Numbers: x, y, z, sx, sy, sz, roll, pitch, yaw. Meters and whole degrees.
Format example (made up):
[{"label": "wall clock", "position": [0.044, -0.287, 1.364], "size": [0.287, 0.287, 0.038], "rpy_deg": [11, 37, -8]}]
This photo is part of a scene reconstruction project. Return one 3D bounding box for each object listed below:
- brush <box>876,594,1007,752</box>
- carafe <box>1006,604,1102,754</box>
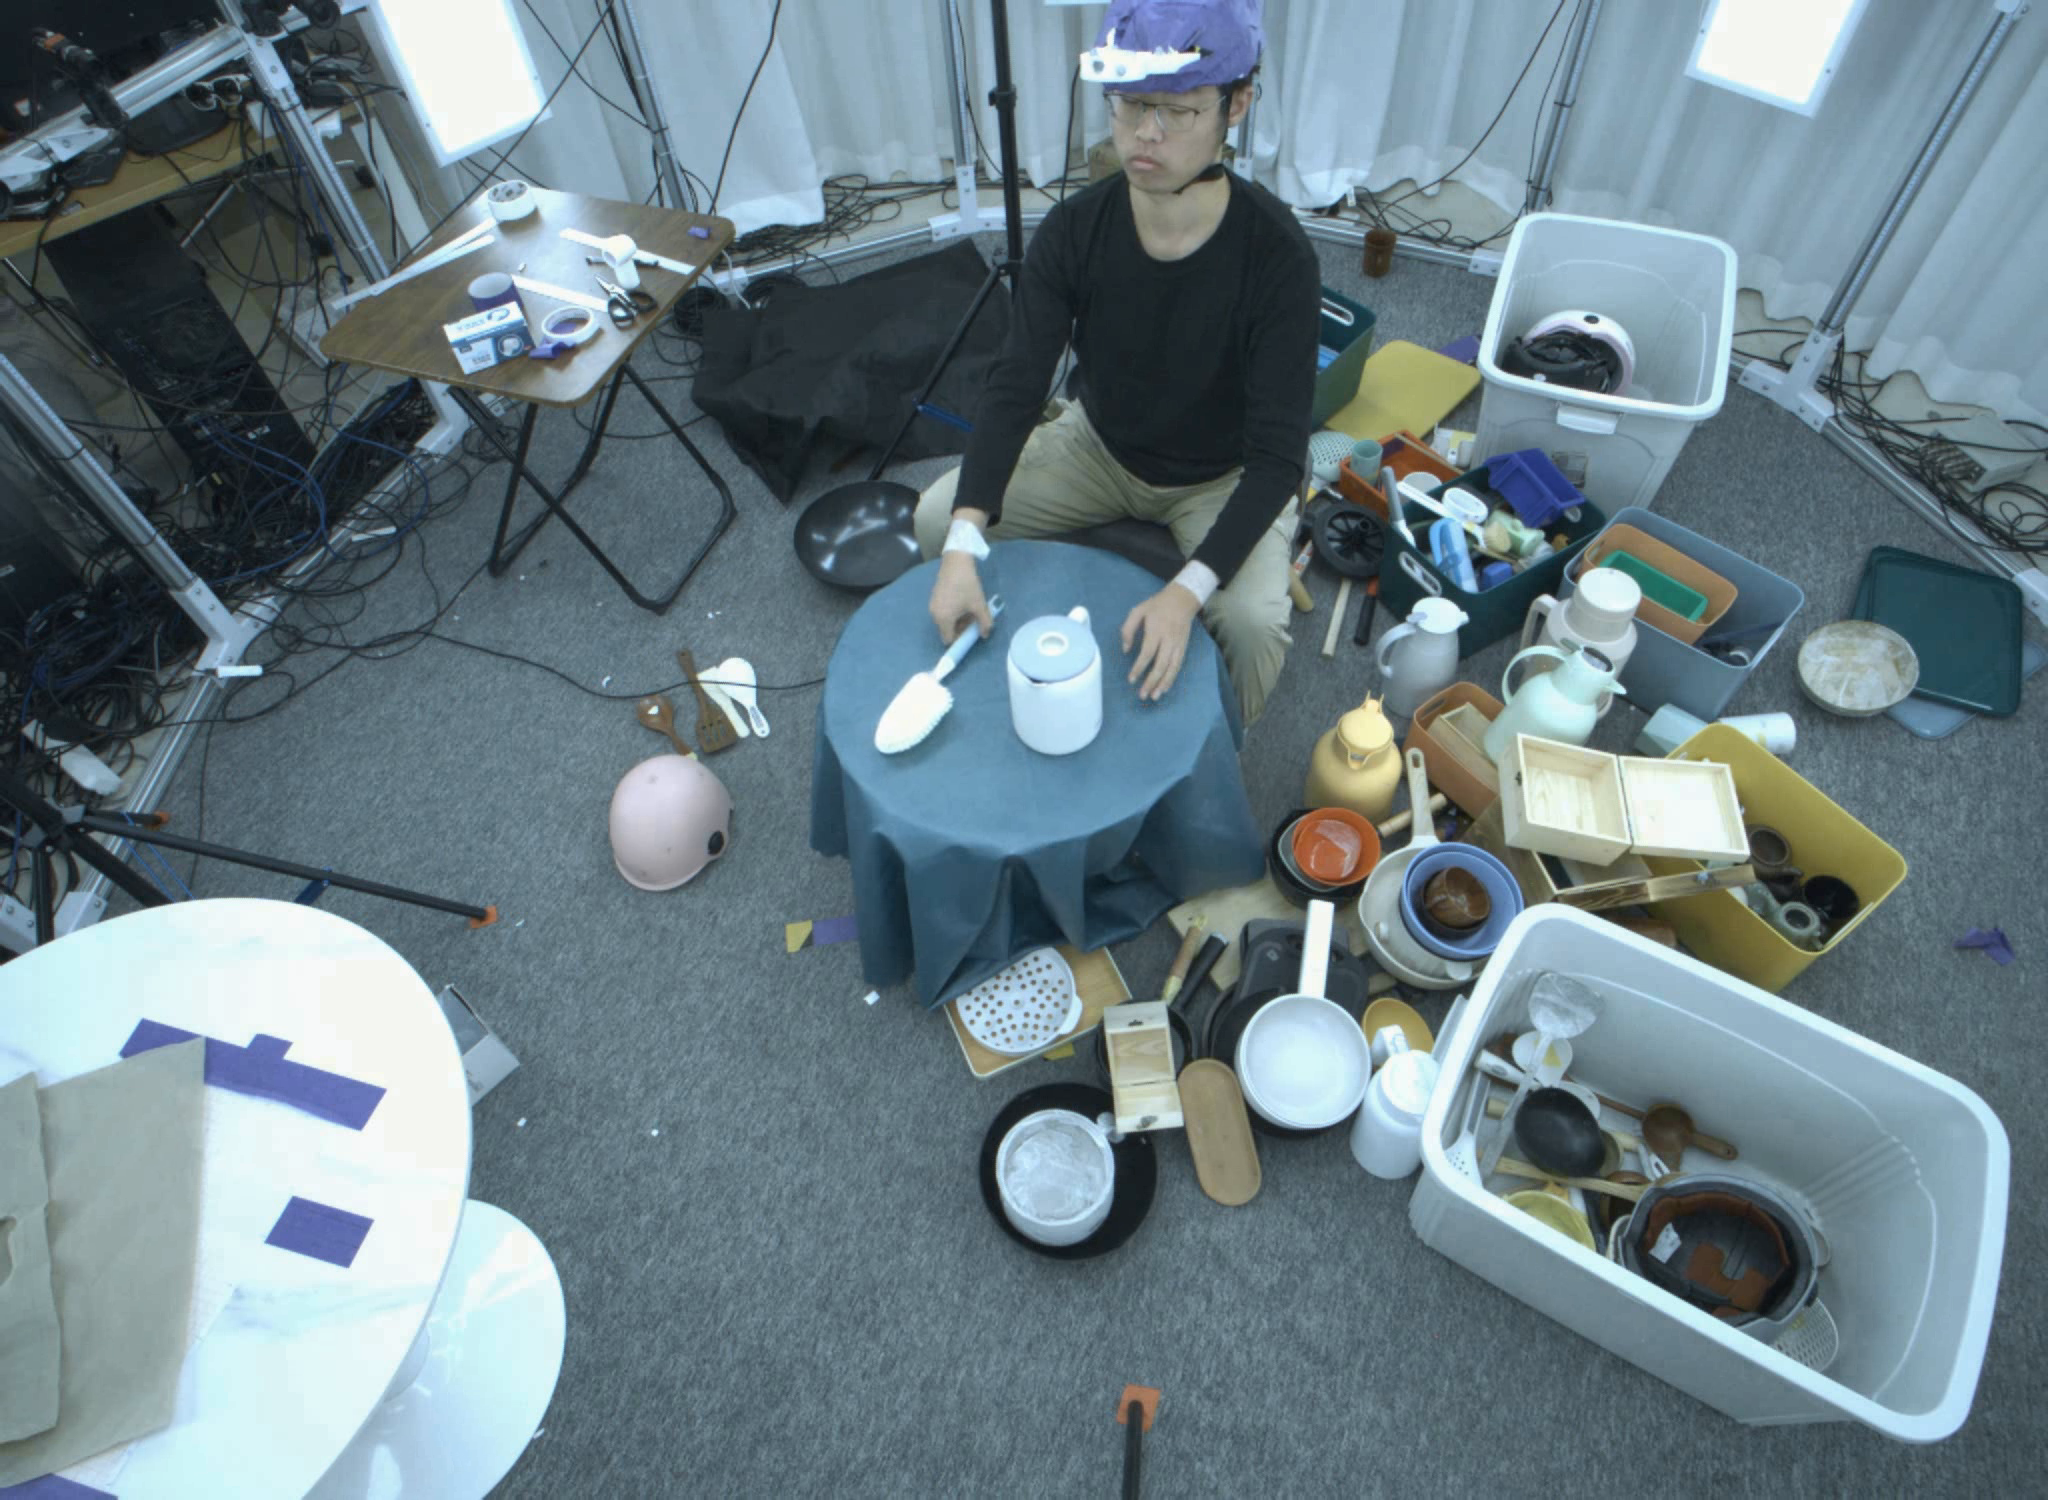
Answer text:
[{"label": "brush", "position": [-0.111, -0.126, 1.821], "size": [0.083, 0.084, 0.326], "rpy_deg": [22, 62, 31]}, {"label": "carafe", "position": [0.053, -0.111, 1.758], "size": [0.131, 0.184, 0.191], "rpy_deg": [16, 56, 14]}]
